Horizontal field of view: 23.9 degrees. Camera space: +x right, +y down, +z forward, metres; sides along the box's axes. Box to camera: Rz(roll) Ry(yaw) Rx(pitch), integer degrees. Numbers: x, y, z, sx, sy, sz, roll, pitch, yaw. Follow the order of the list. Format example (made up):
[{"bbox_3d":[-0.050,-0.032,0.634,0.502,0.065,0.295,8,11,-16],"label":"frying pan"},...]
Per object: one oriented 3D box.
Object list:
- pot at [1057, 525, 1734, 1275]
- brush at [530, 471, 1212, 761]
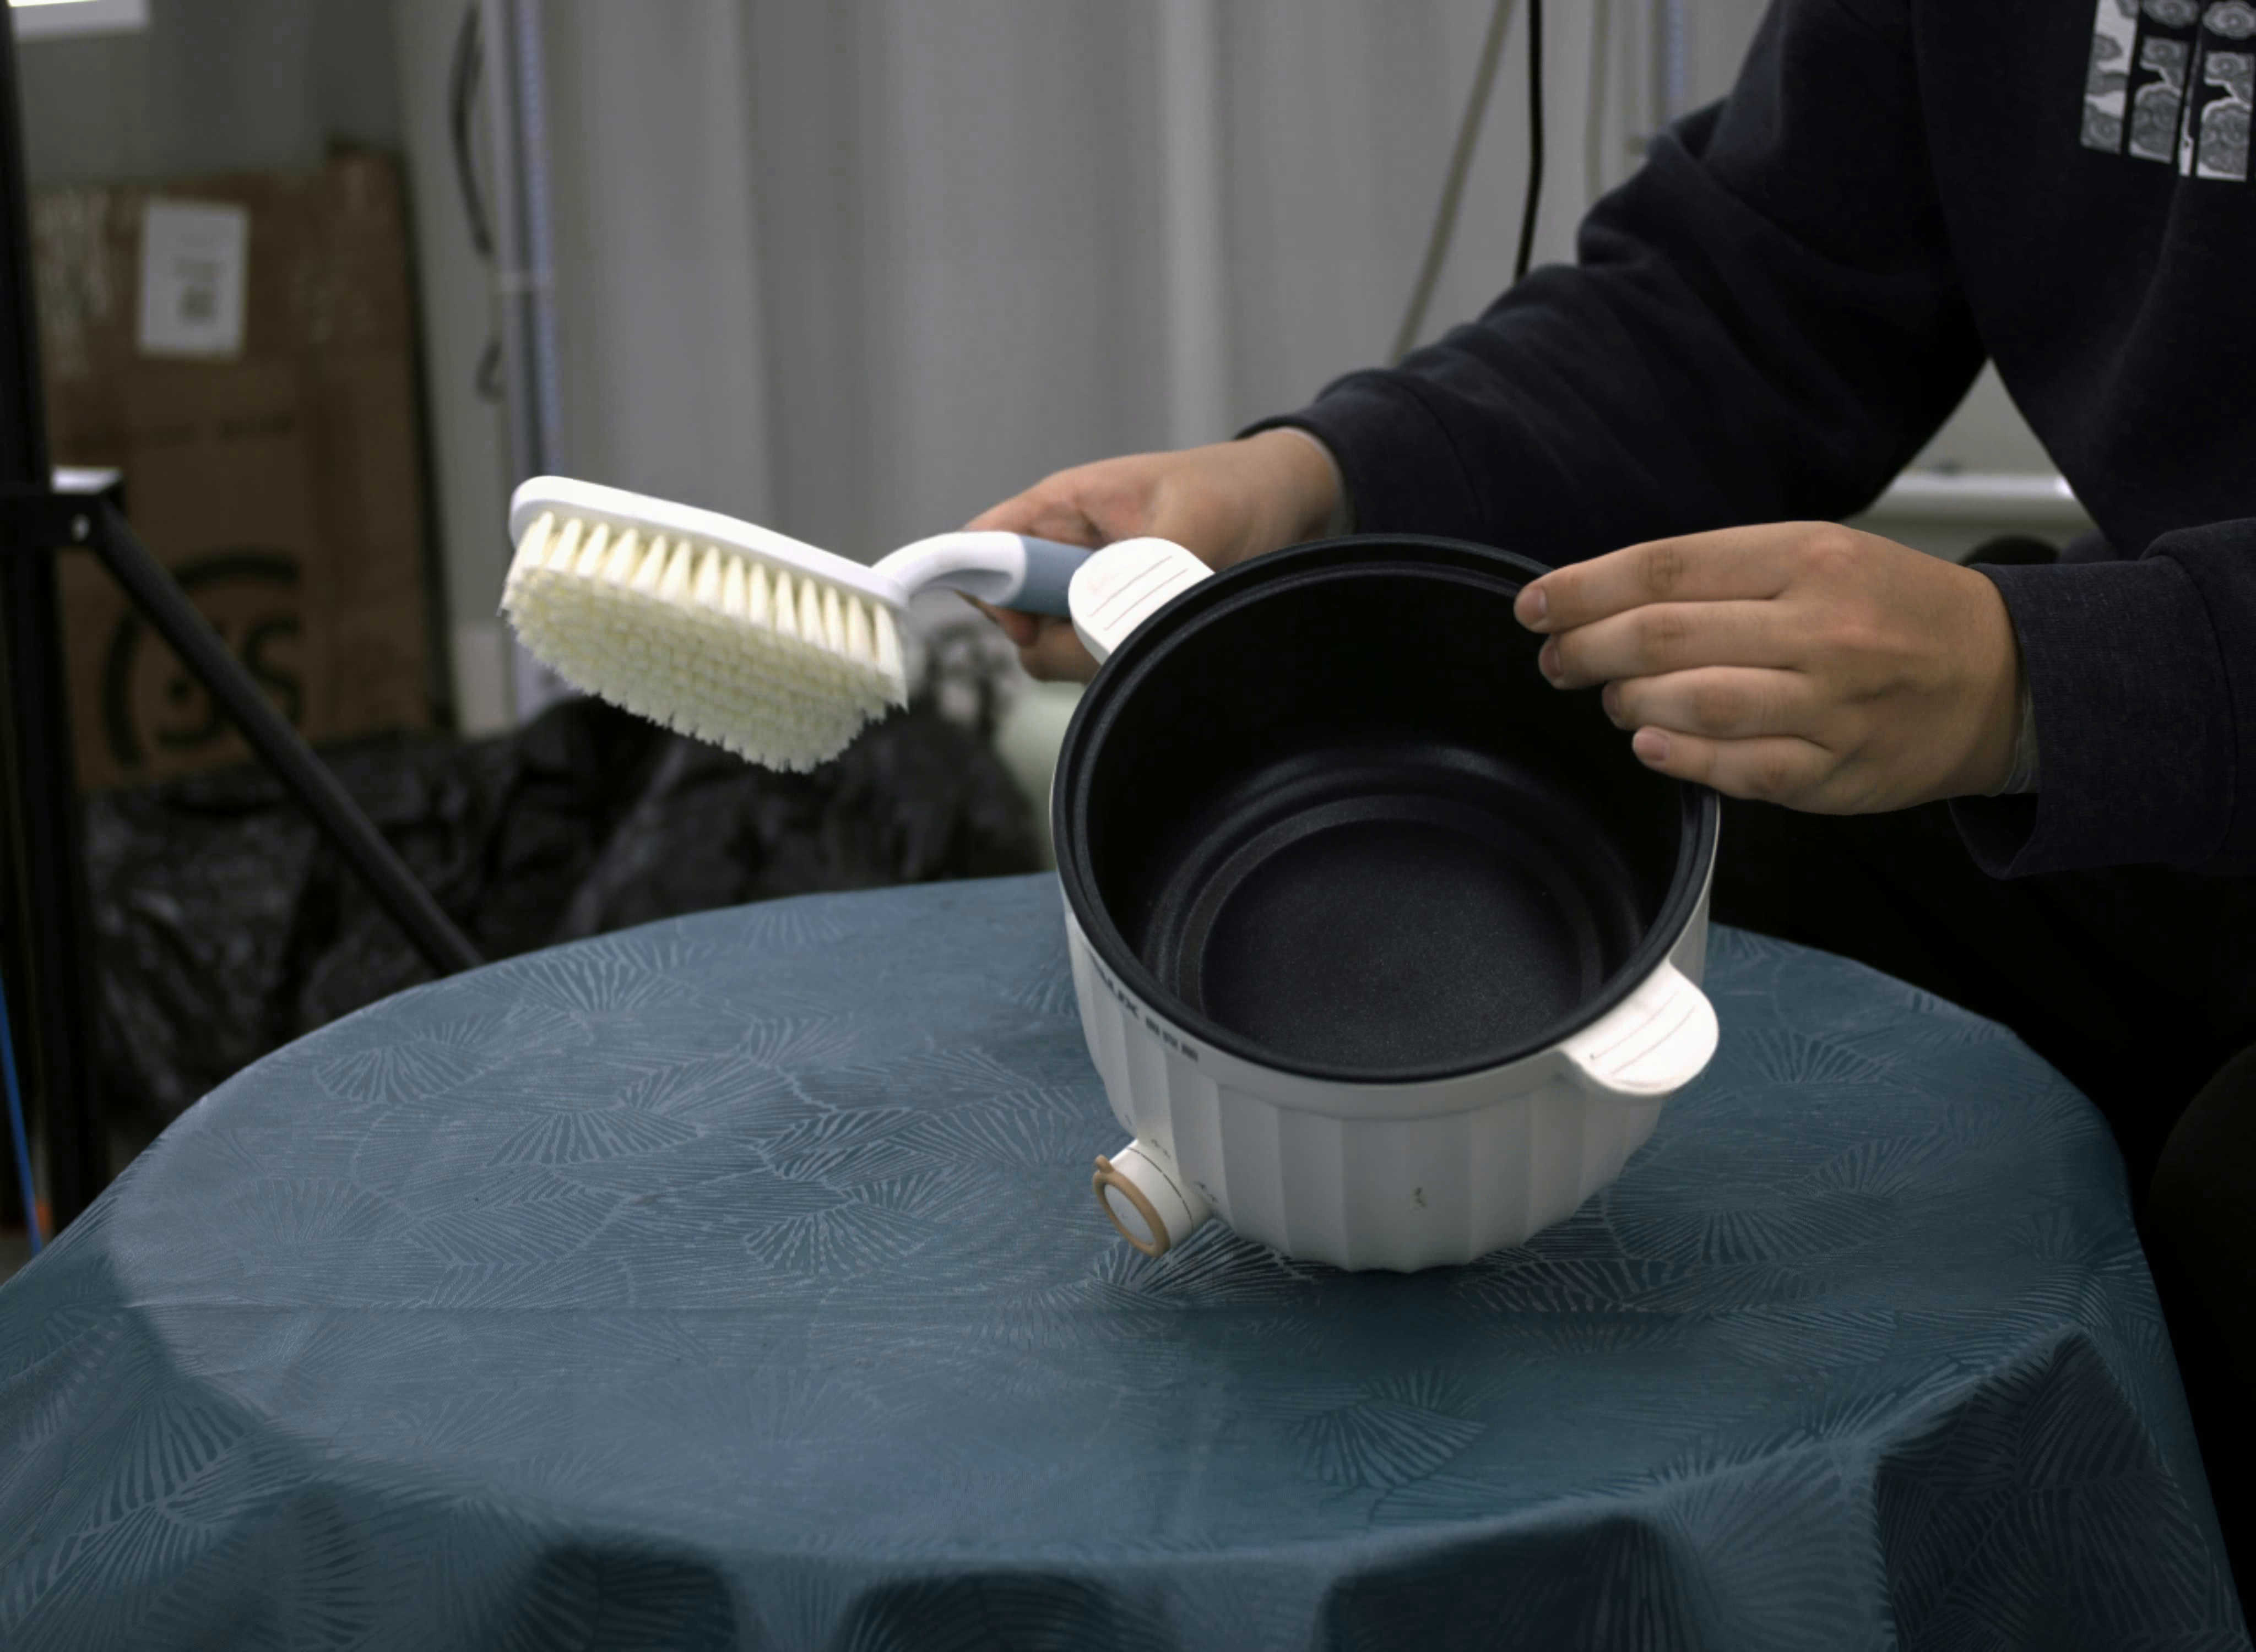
[{"bbox_3d":[0.070,0.033,1.479,0.188,0.141,0.245,-36,59,-22],"label":"pot"},{"bbox_3d":[-0.044,-0.053,1.694,0.317,0.085,0.085,9,6,-34],"label":"brush"}]
